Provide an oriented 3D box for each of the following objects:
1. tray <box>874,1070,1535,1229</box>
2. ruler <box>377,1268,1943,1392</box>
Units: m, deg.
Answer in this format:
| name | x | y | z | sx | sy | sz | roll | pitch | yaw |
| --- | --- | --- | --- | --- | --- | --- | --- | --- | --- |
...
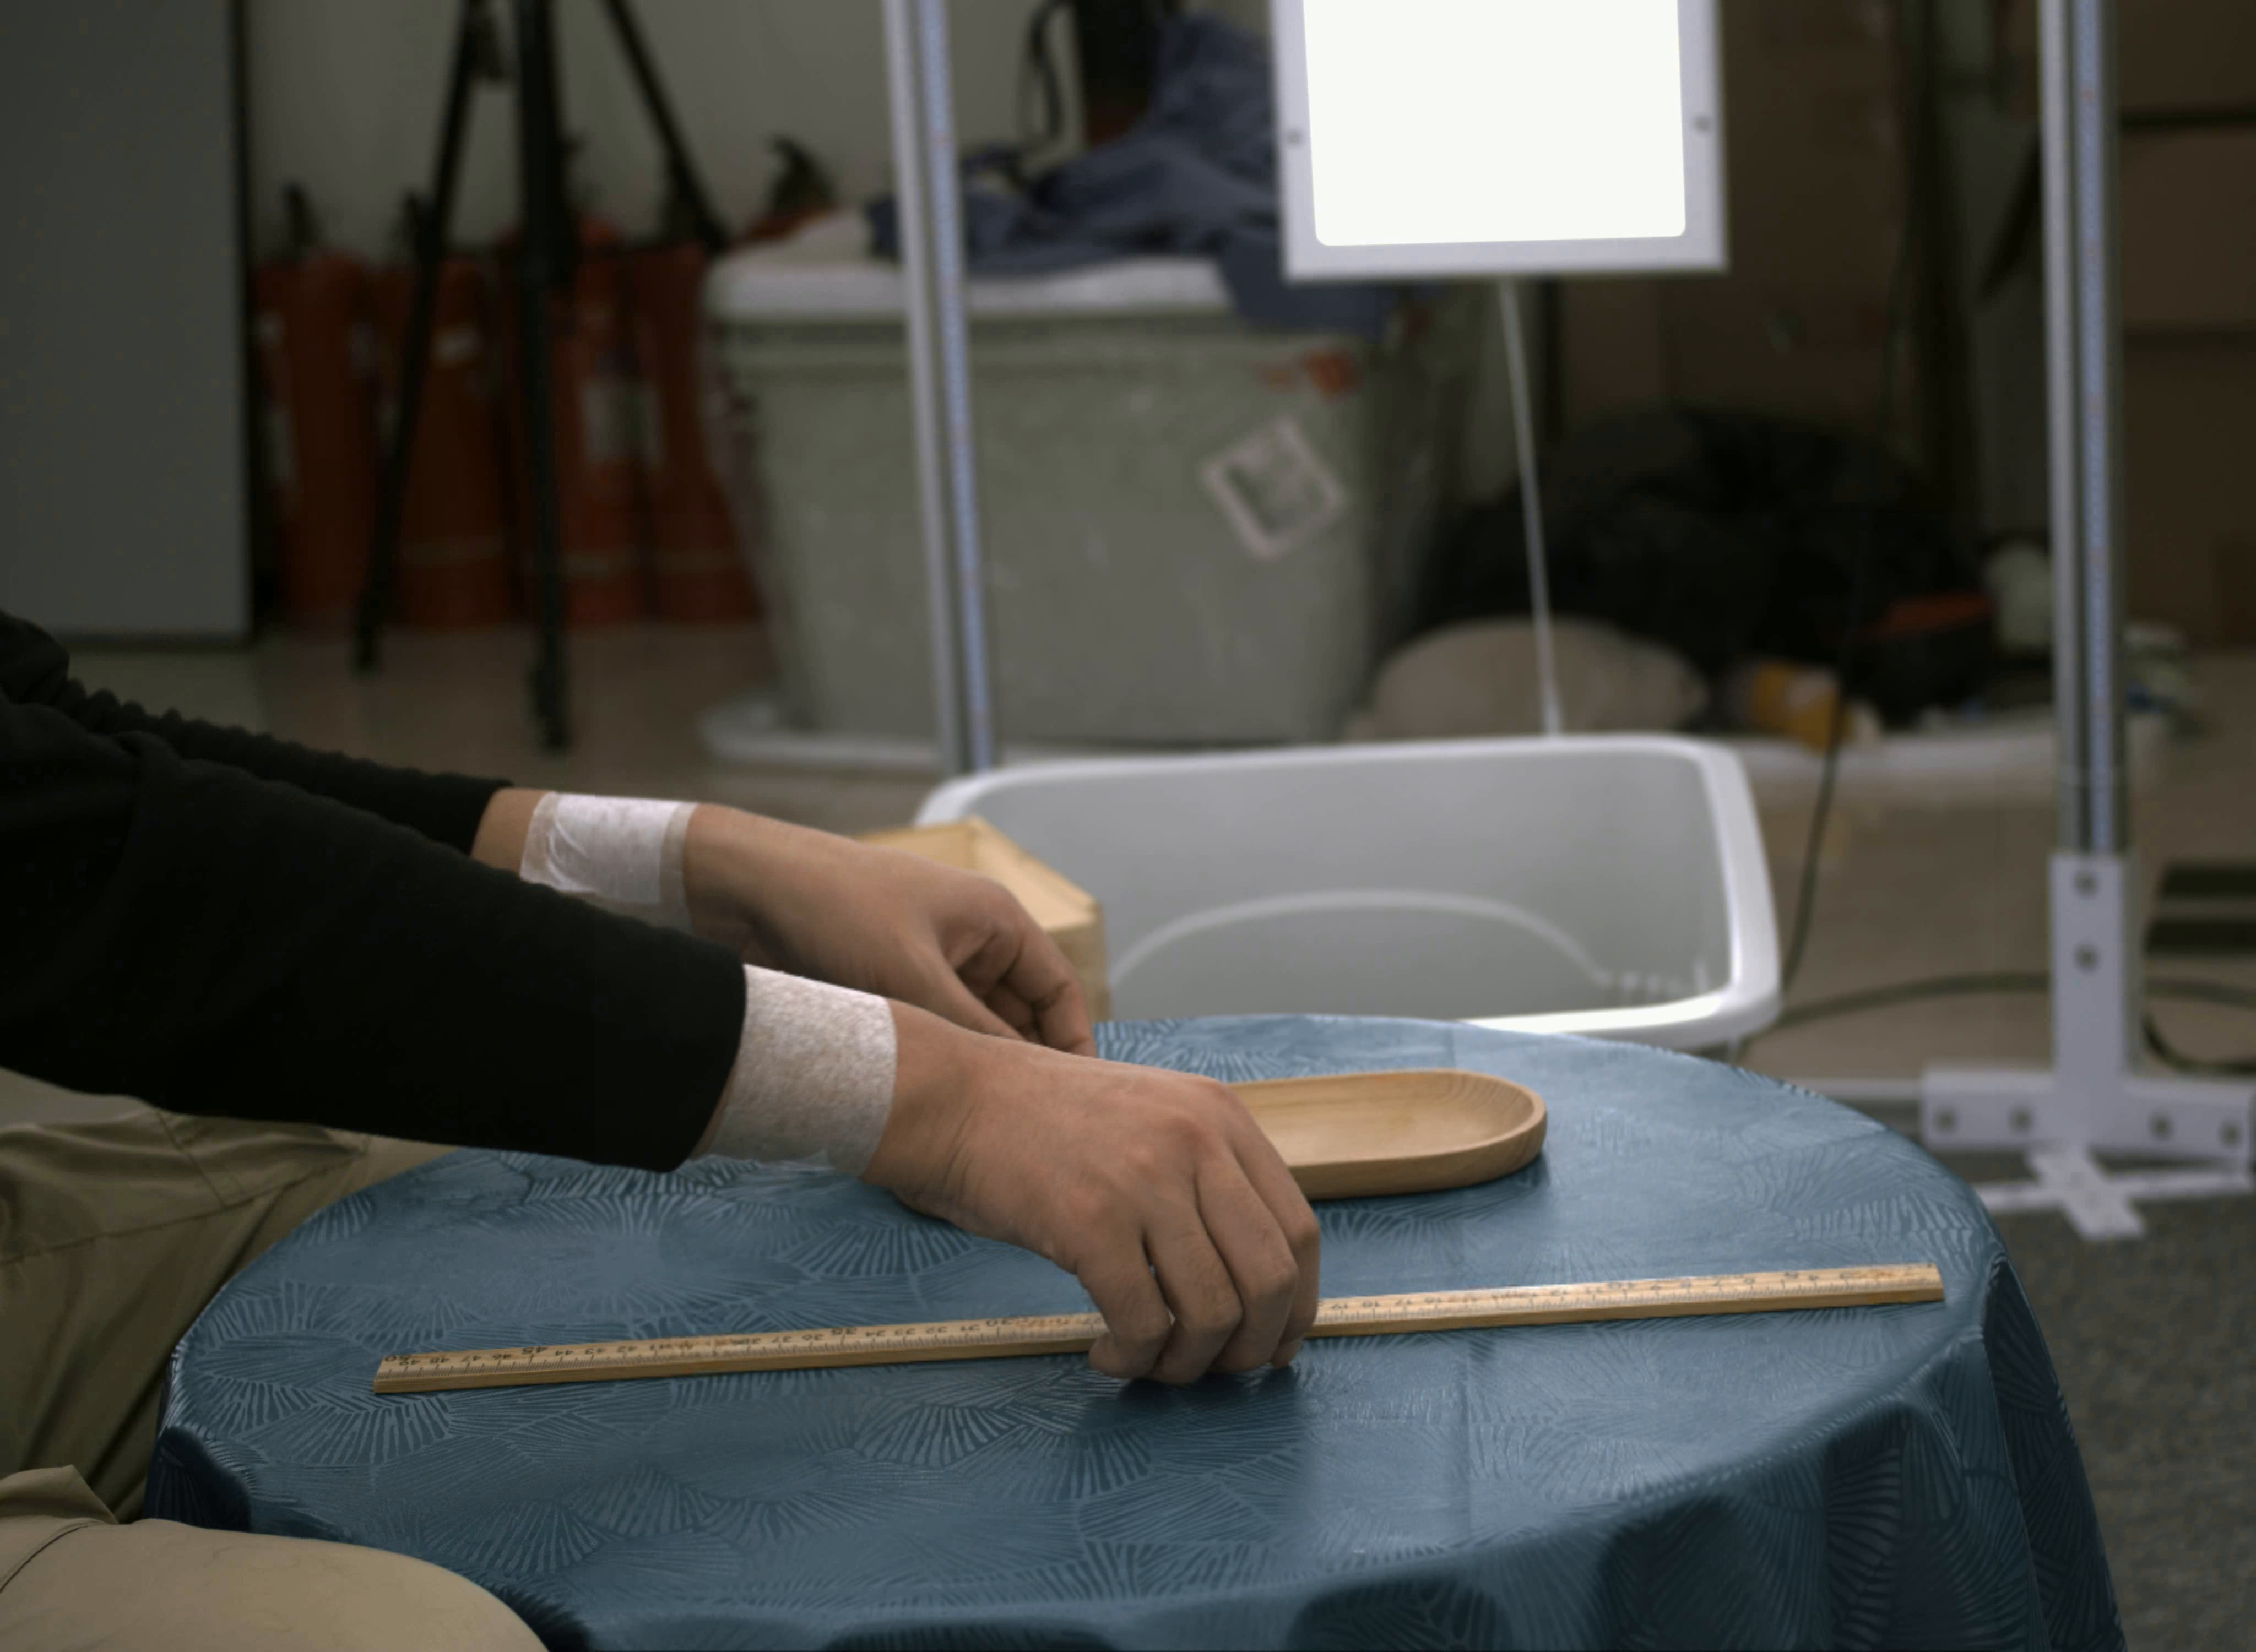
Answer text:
| name | x | y | z | sx | sy | sz | roll | pitch | yaw |
| --- | --- | --- | --- | --- | --- | --- | --- | --- | --- |
| tray | 0.027 | 0.113 | 1.911 | 0.230 | 0.020 | 0.101 | -7 | 12 | 0 |
| ruler | 0.009 | 0.160 | 1.750 | 0.501 | 0.006 | 0.026 | -4 | 11 | 6 |
